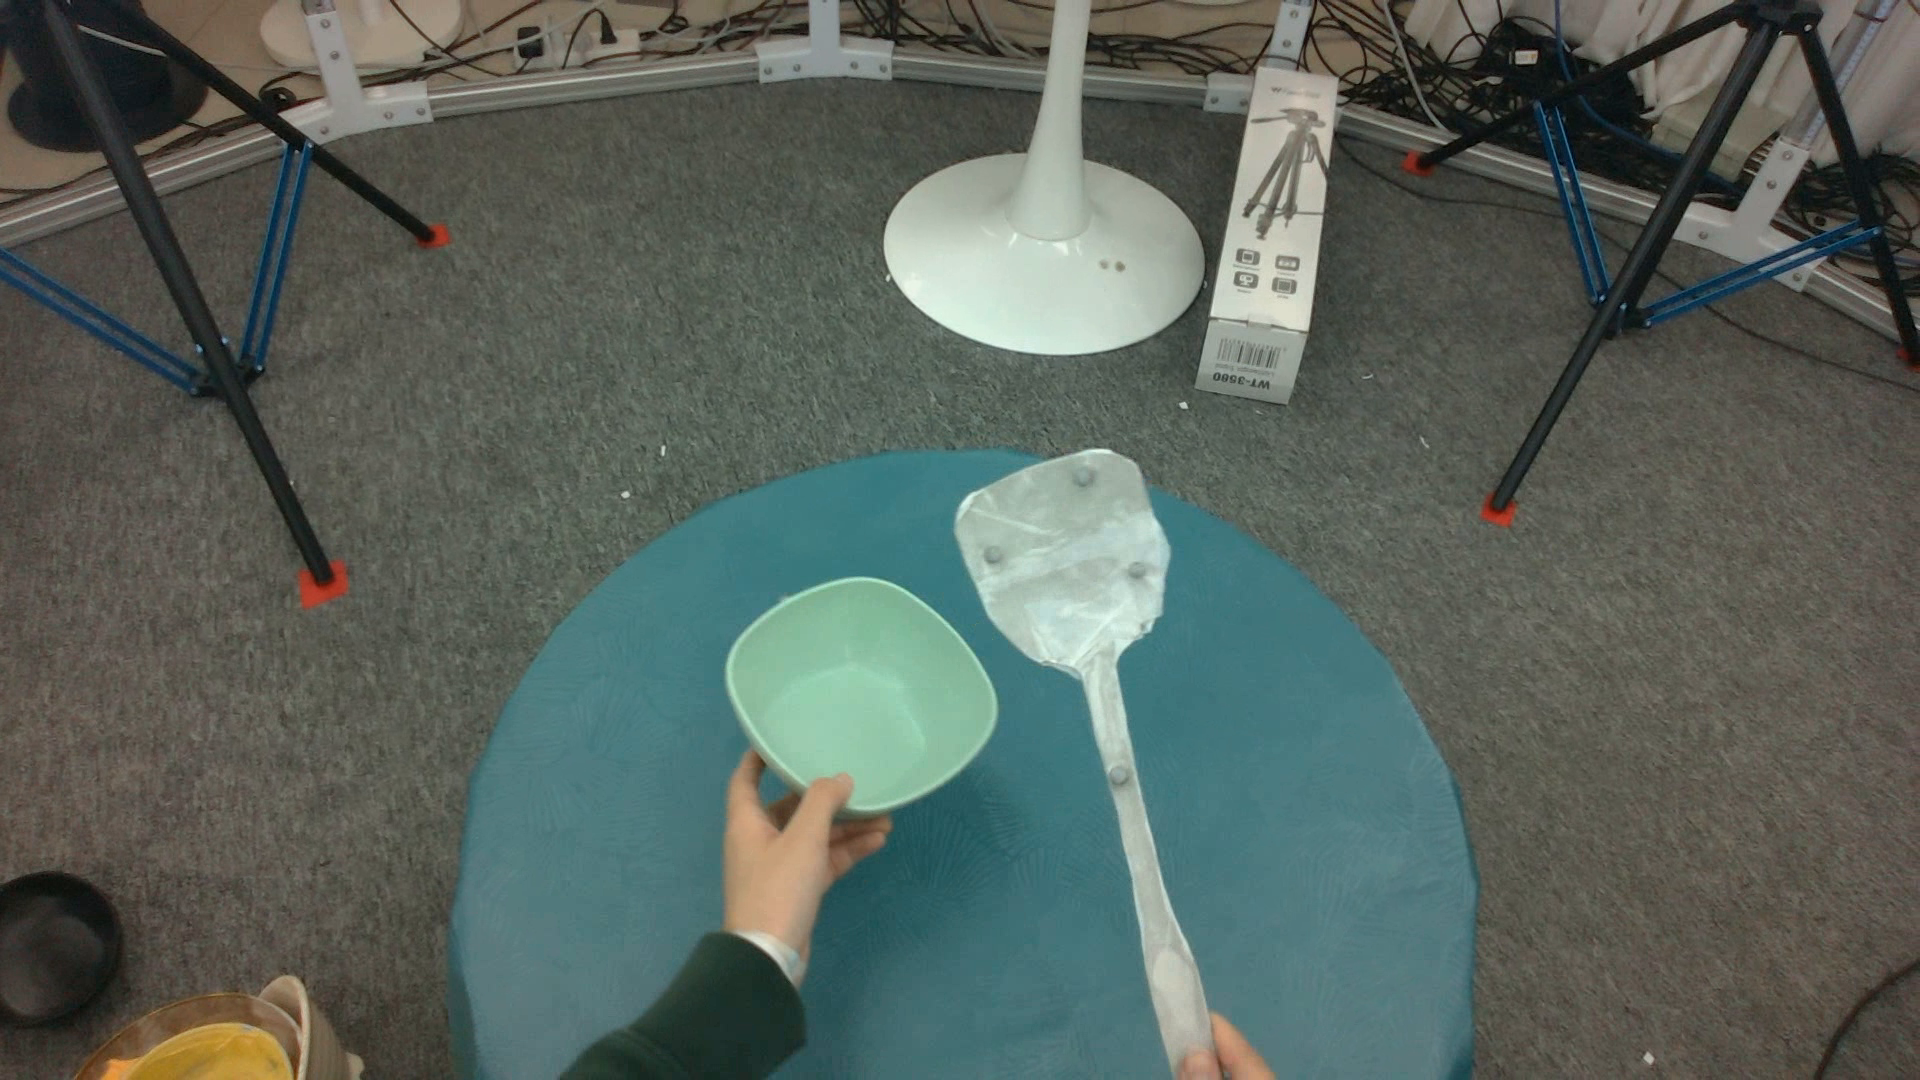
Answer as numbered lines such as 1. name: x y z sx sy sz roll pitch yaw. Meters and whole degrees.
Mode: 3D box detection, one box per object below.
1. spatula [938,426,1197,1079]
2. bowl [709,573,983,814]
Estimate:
1. spatula: 0.065 0.119 0.618 0.098 0.045 0.366 -25 60 26
2. bowl: -0.067 0.094 0.767 0.151 0.058 0.152 10 48 -11
